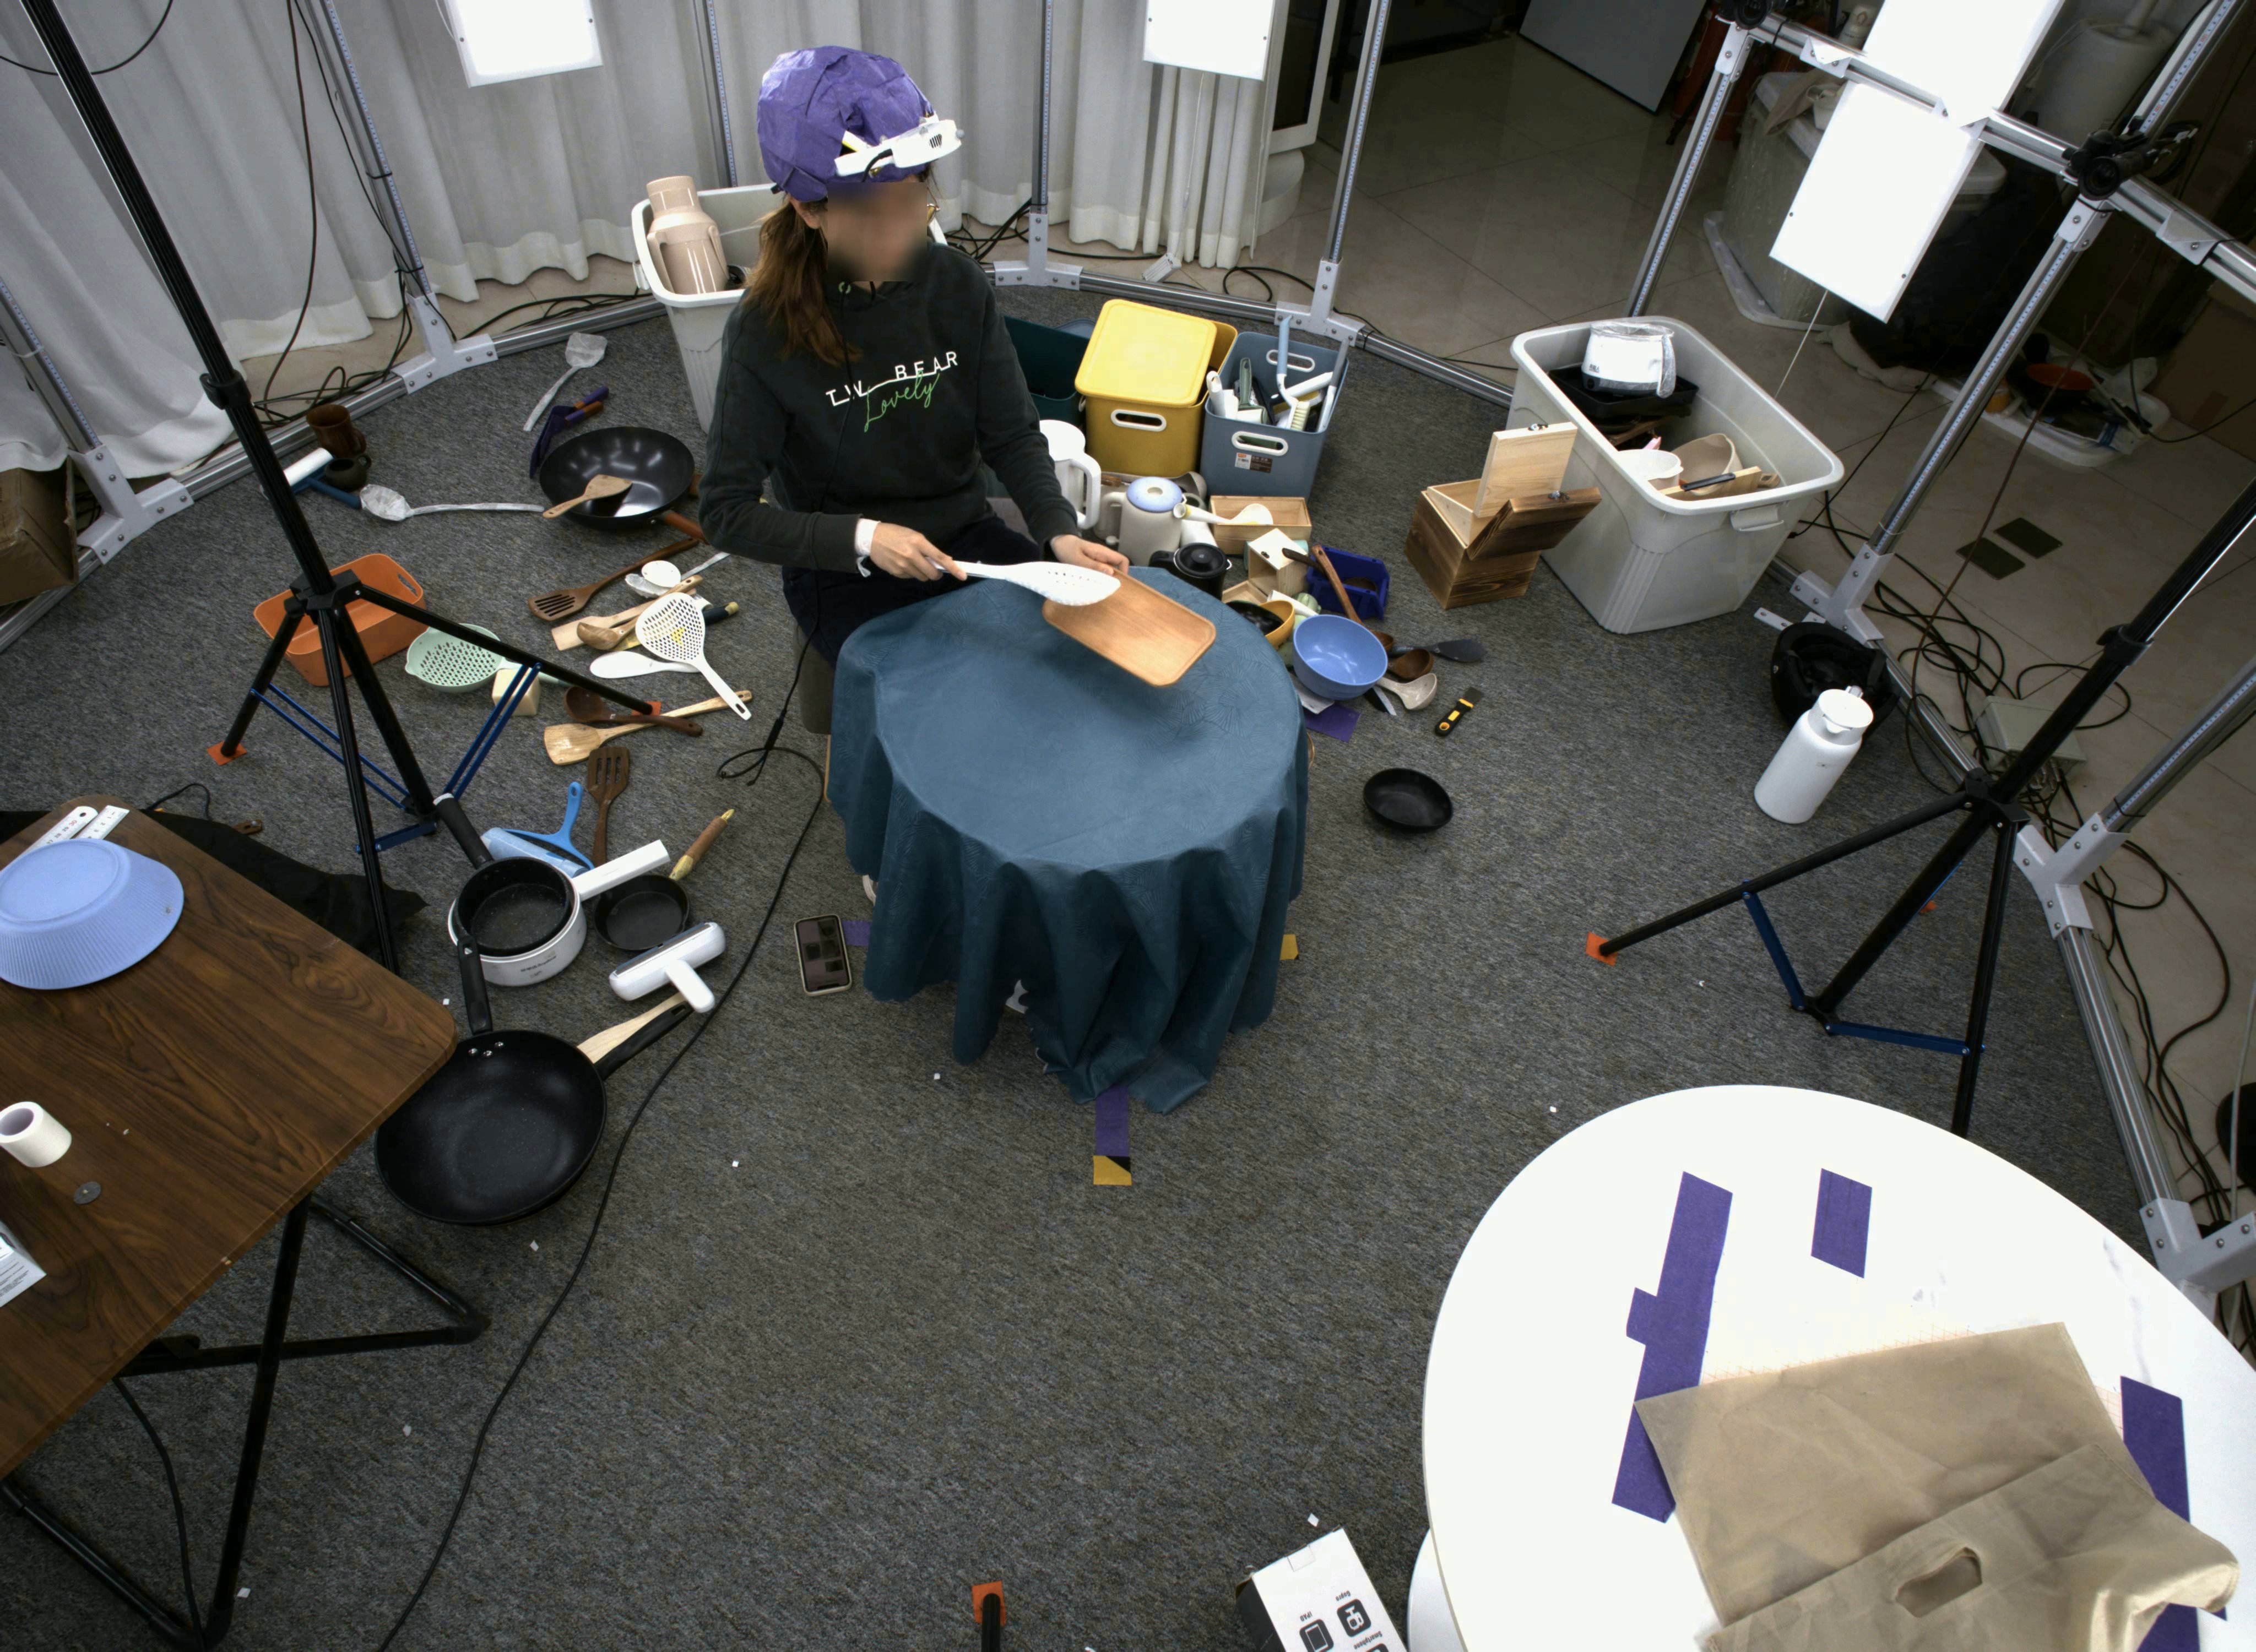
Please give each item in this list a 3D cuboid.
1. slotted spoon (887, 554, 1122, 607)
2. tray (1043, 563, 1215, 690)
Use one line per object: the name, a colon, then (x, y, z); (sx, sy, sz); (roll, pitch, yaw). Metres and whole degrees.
slotted spoon: (-0.179, -0.357, 1.823); (0.351, 0.135, 0.046); (15, 88, 17)
tray: (0.000, -0.285, 1.823); (0.254, 0.022, 0.131); (34, 69, 29)
